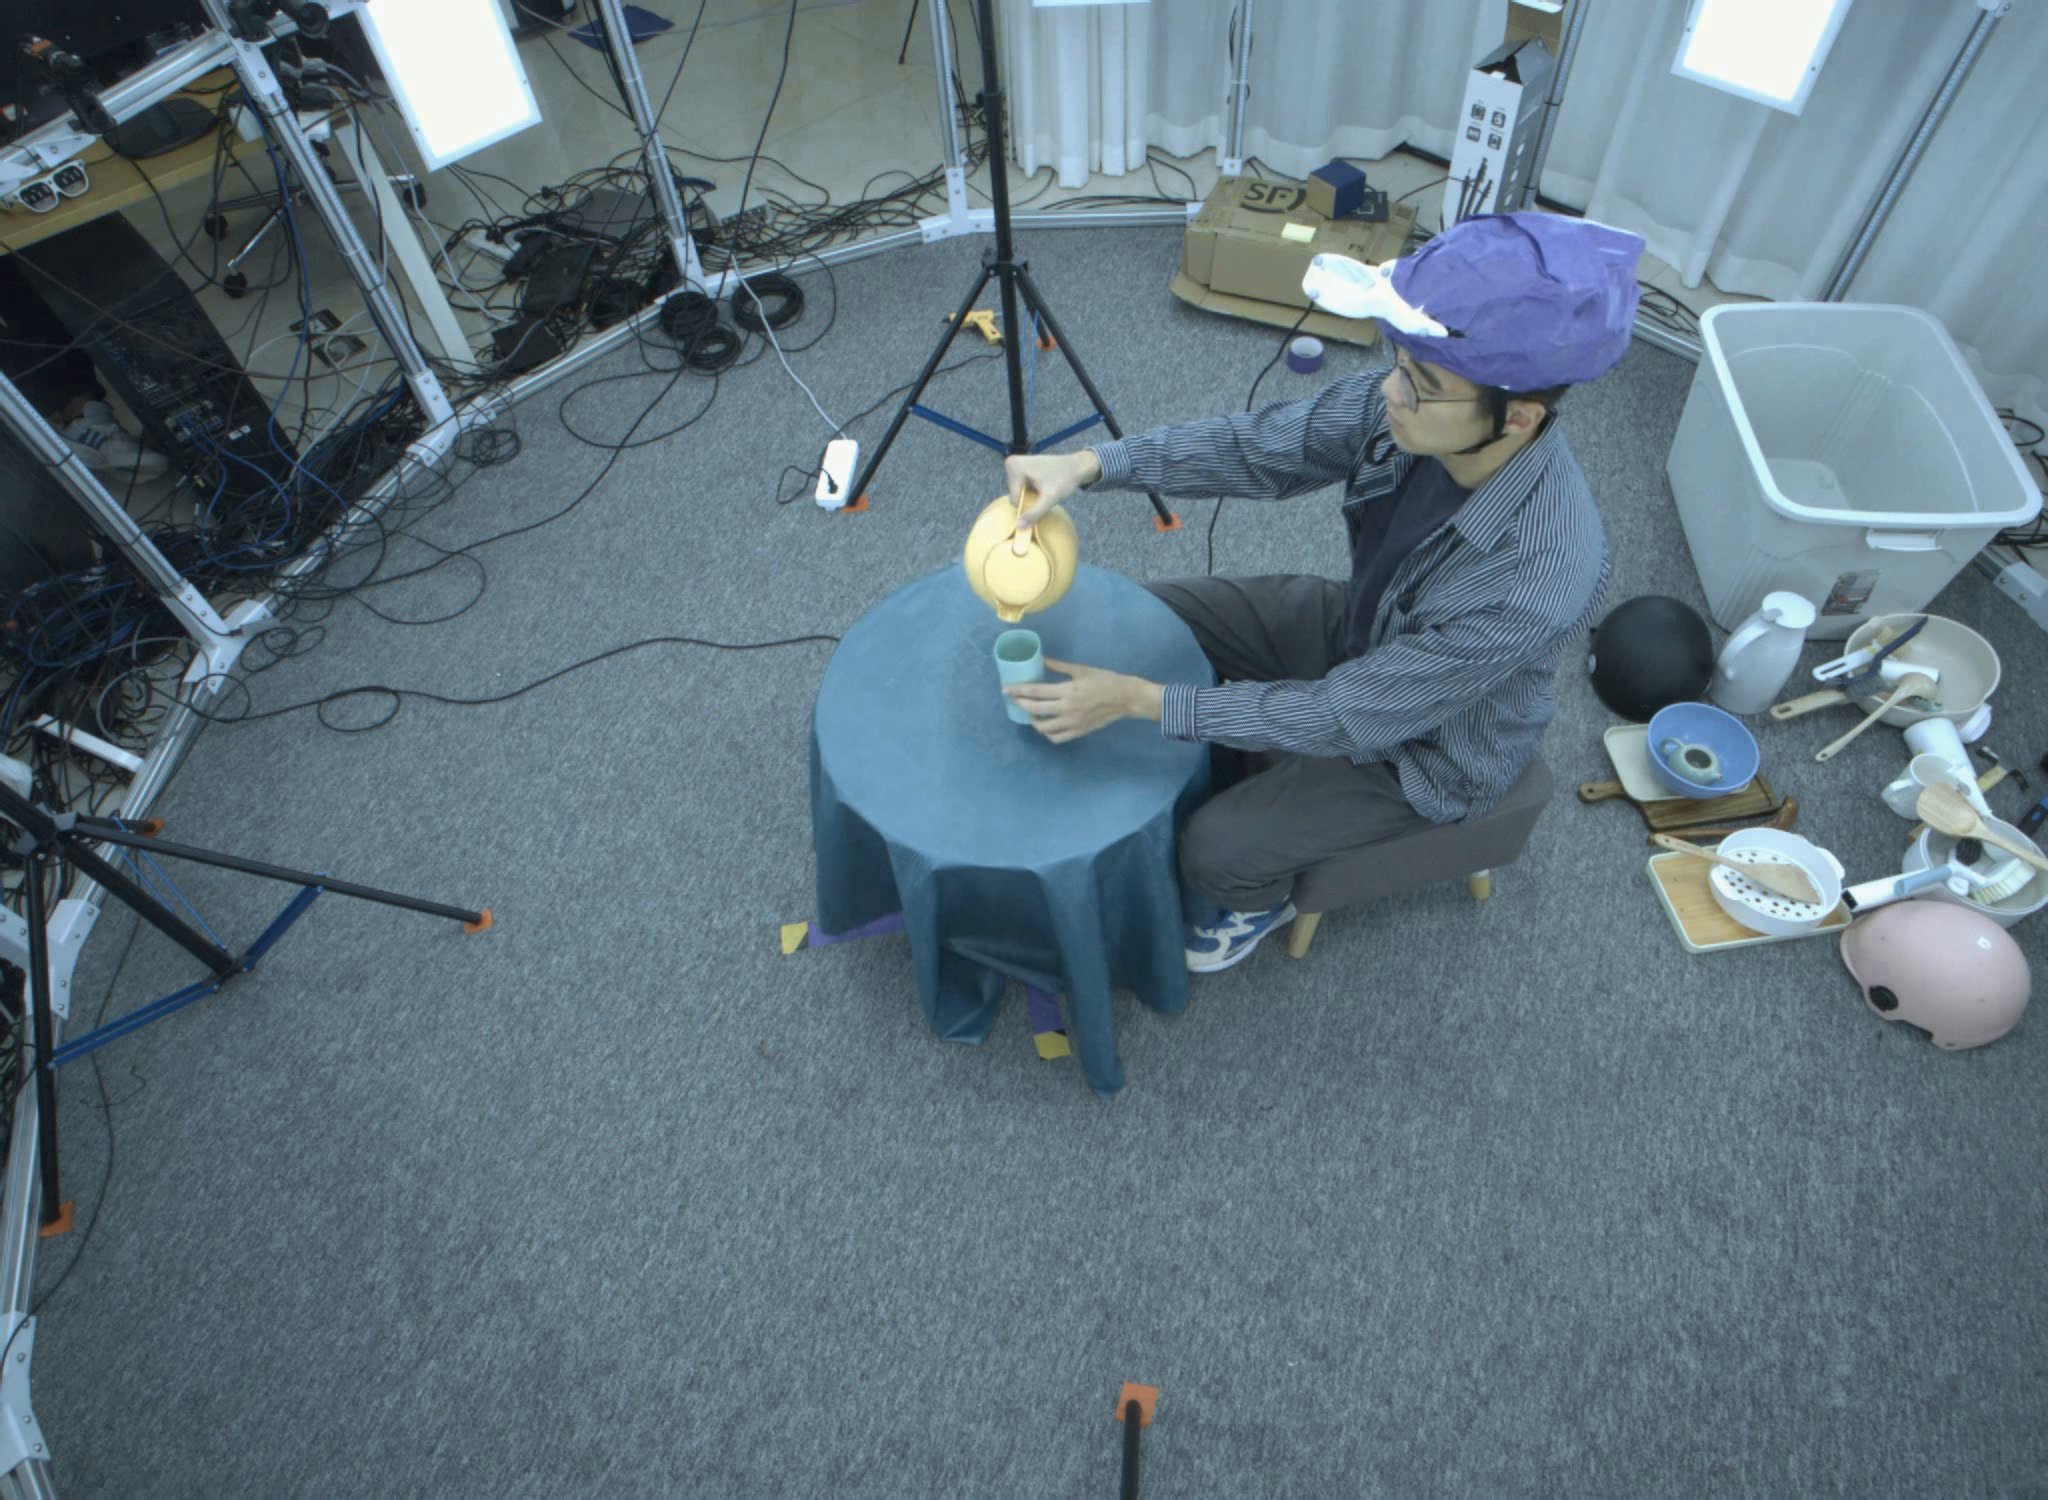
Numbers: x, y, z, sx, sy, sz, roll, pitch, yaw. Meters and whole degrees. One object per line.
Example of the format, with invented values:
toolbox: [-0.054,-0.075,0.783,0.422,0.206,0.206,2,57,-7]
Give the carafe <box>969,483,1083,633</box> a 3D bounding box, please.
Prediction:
carafe: [0.007,-0.280,1.745,0.164,0.203,0.258,8,20,-2]

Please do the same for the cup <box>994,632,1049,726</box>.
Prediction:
cup: [-0.001,-0.099,1.740,0.066,0.134,0.066,-3,52,6]
